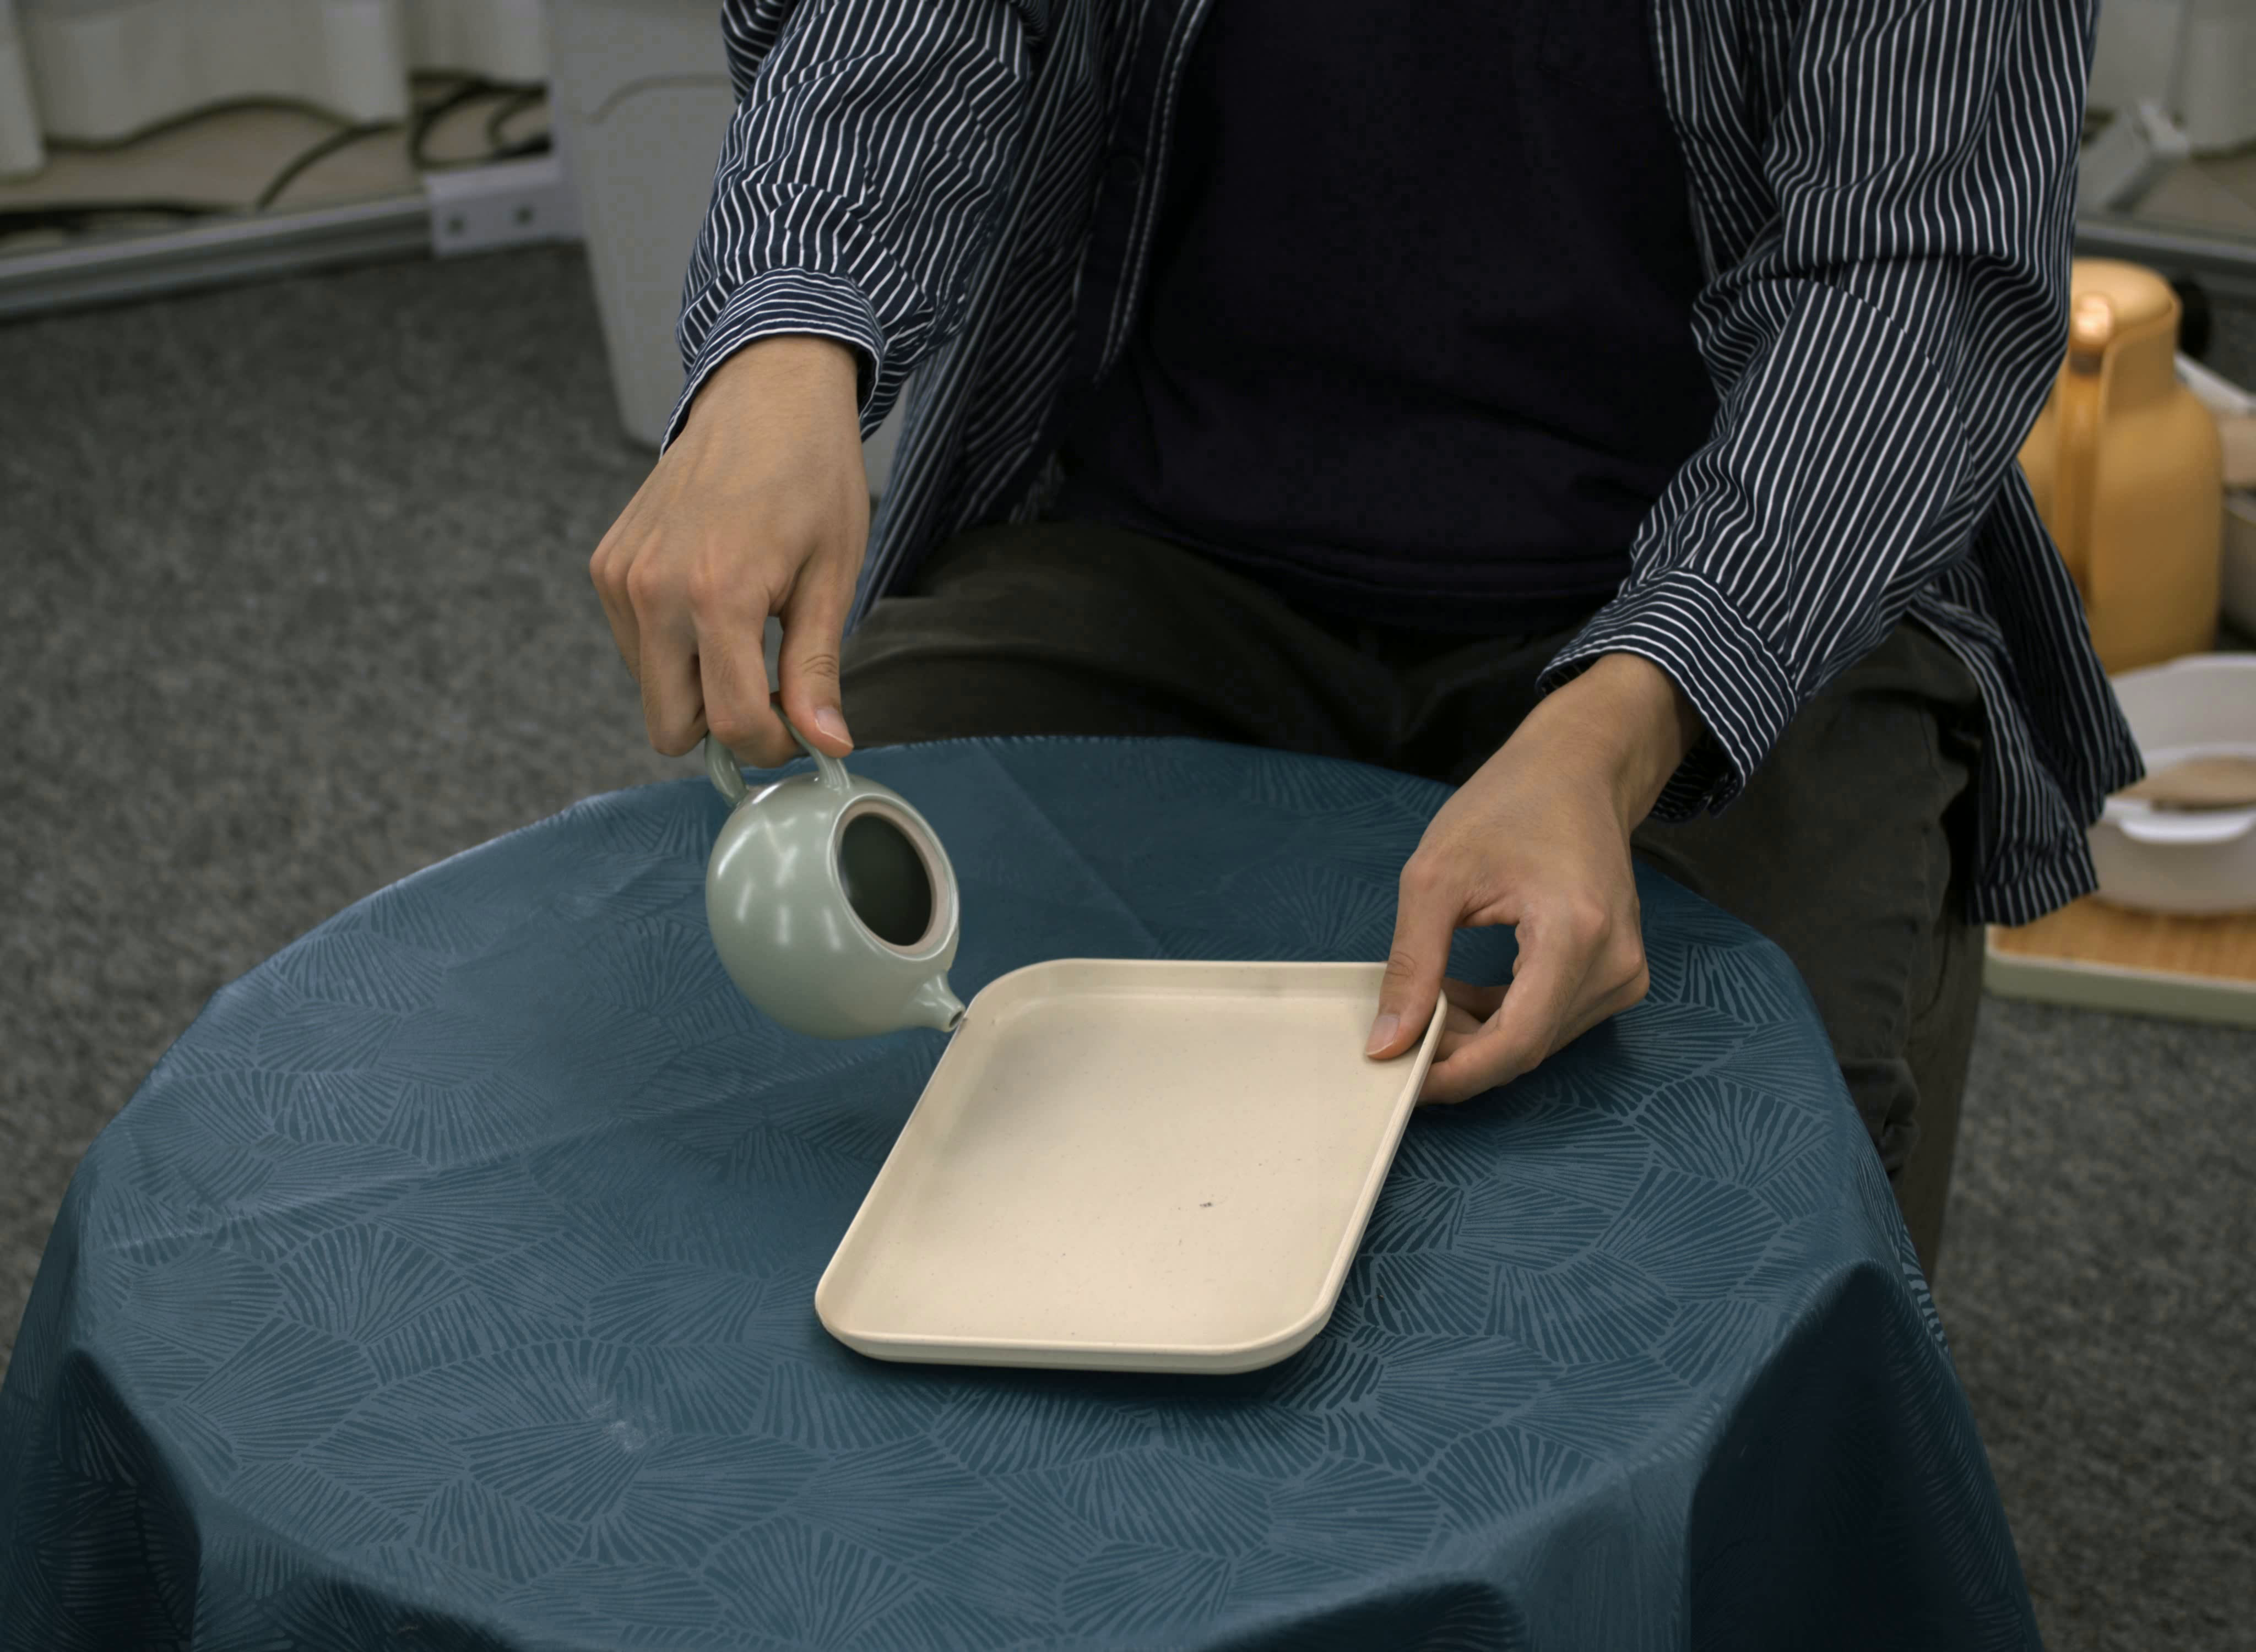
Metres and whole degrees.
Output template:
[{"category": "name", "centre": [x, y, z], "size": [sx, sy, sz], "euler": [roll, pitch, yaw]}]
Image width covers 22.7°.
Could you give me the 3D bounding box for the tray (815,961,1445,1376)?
[{"category": "tray", "centre": [0.005, 0.111, 1.844], "size": [0.170, 0.017, 0.244], "euler": [1, 28, 16]}]

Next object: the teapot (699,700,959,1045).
[{"category": "teapot", "centre": [-0.104, 0.019, 1.864], "size": [0.060, 0.129, 0.092], "euler": [-27, -5, 37]}]
